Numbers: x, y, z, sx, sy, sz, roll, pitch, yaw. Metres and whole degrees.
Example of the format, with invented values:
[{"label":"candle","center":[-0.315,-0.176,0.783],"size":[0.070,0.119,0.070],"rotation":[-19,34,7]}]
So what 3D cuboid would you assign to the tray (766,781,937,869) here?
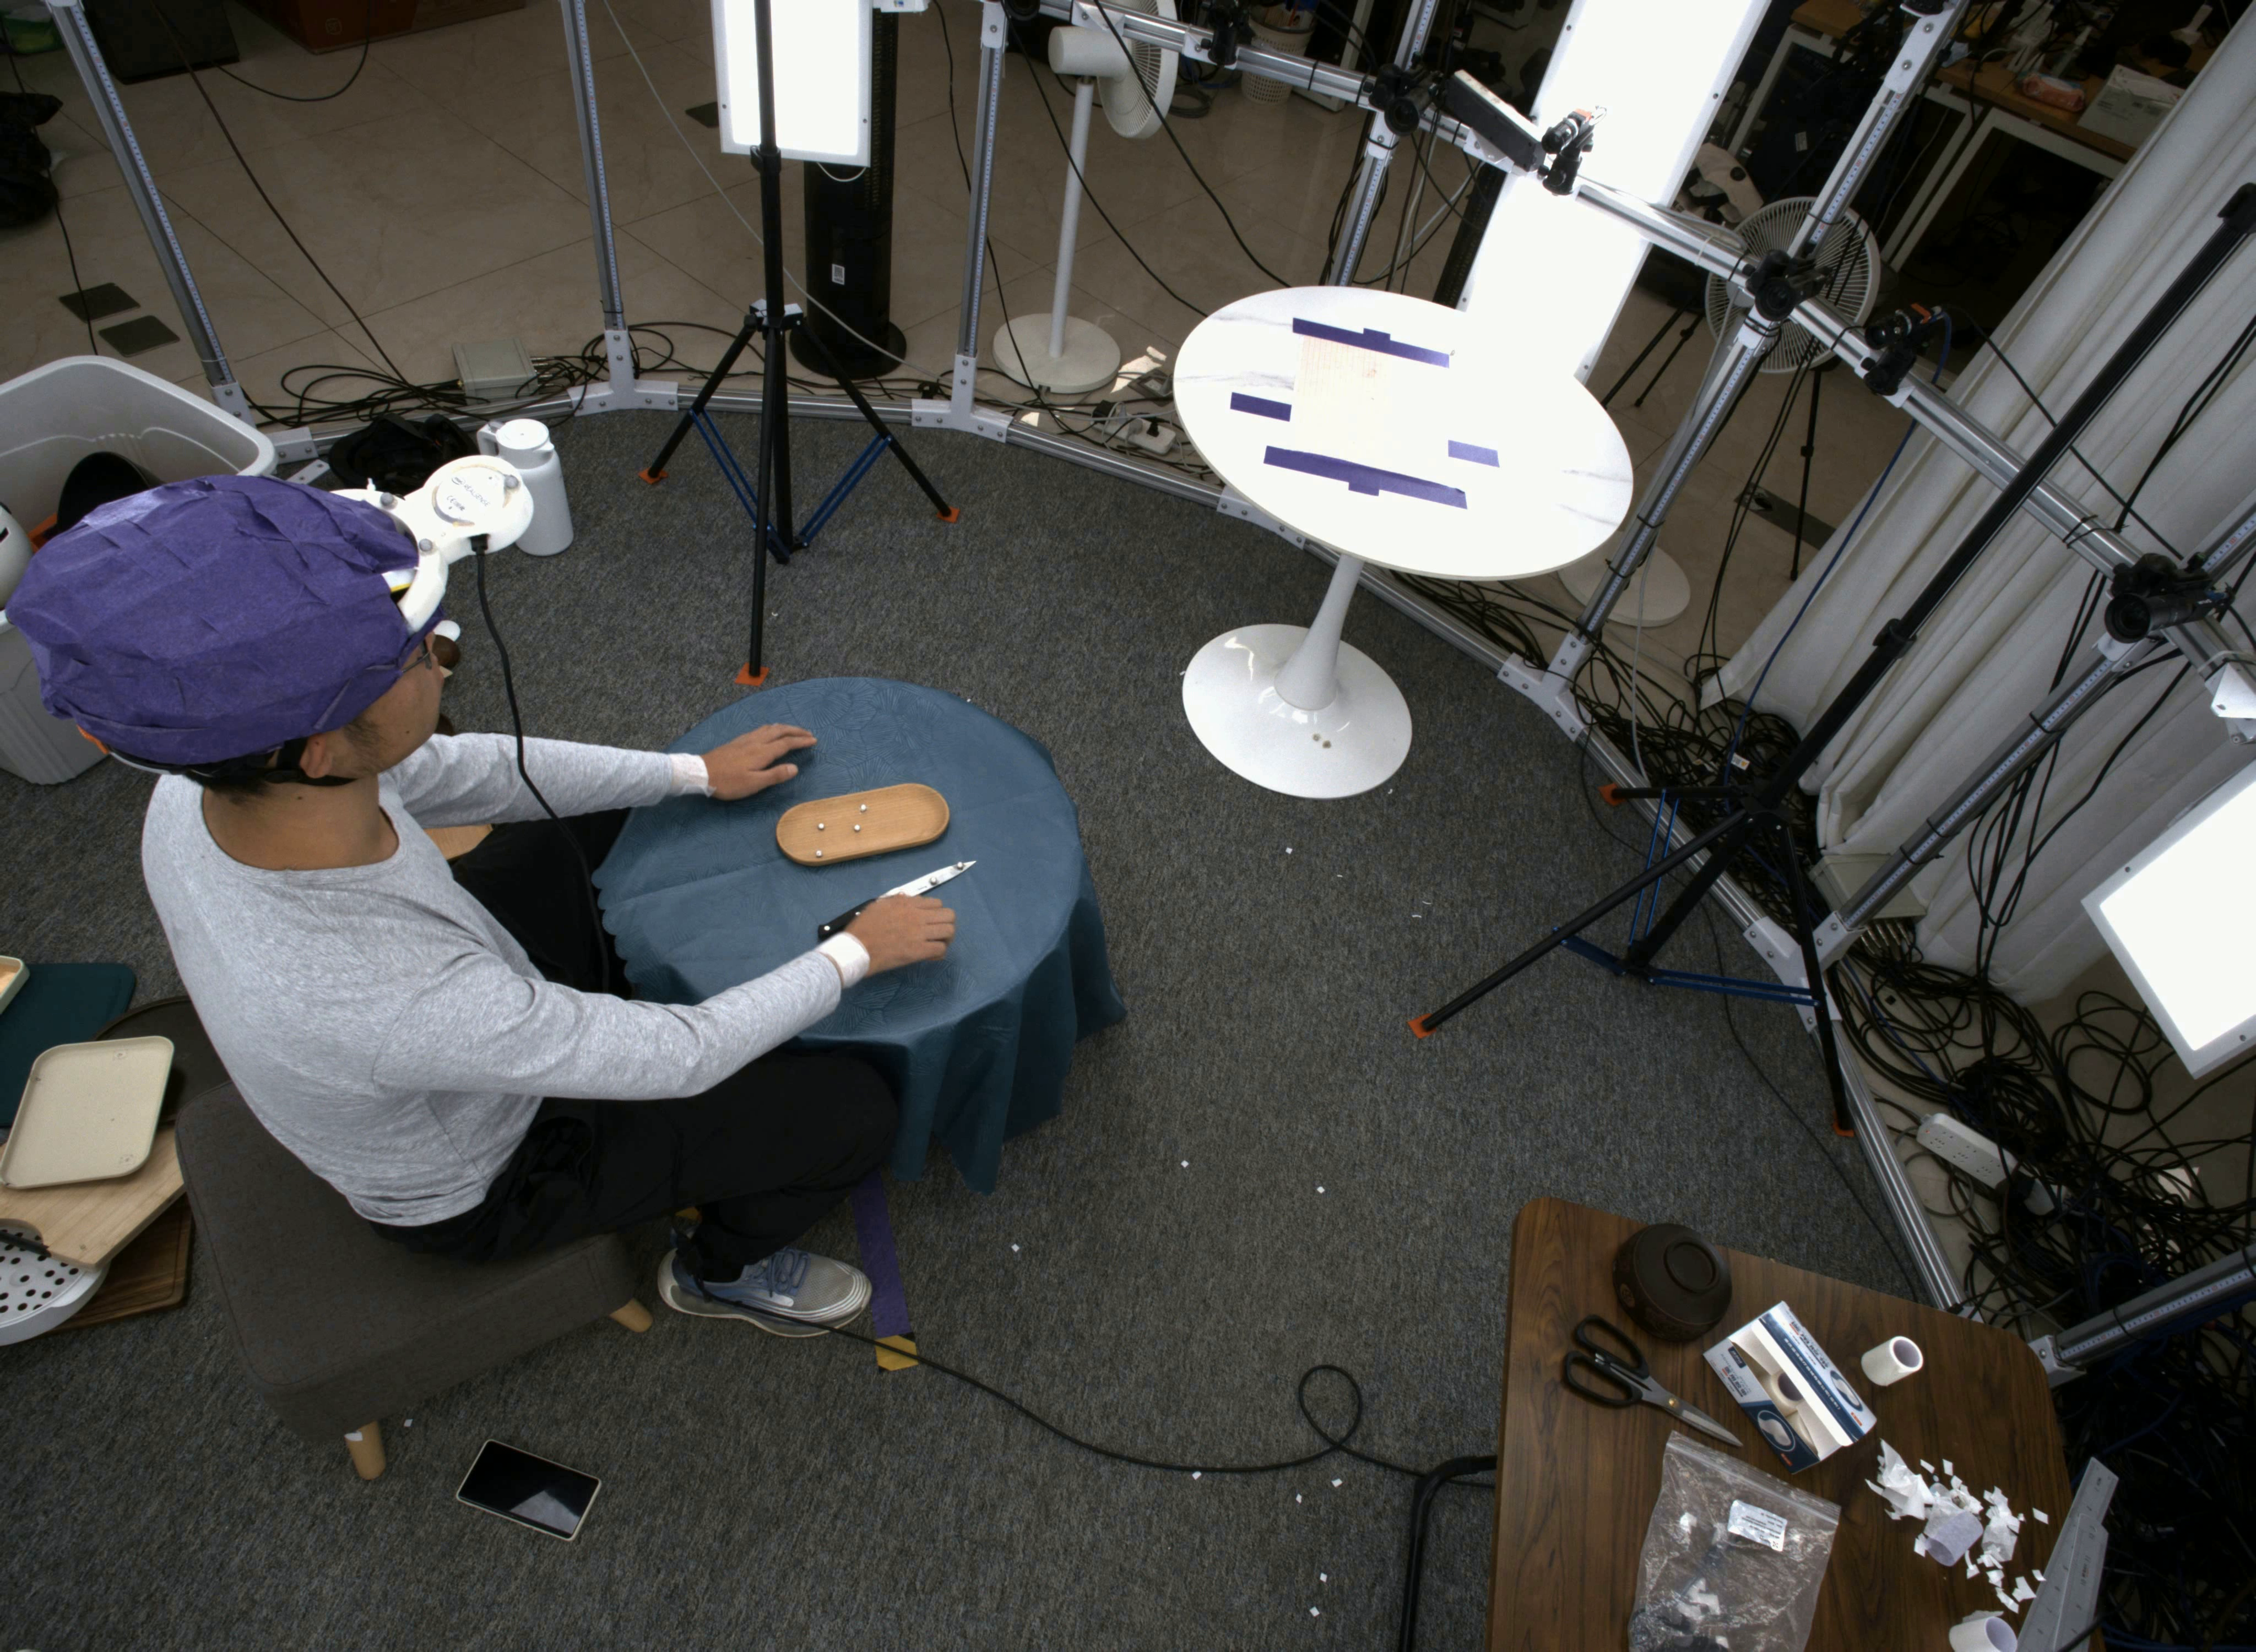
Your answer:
[{"label":"tray","center":[-0.369,-0.003,1.742],"size":[0.232,0.021,0.099],"rotation":[-14,60,-25]}]

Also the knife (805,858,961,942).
[{"label":"knife","center":[-0.312,0.091,1.689],"size":[0.239,0.016,0.024],"rotation":[-28,62,-33]}]
